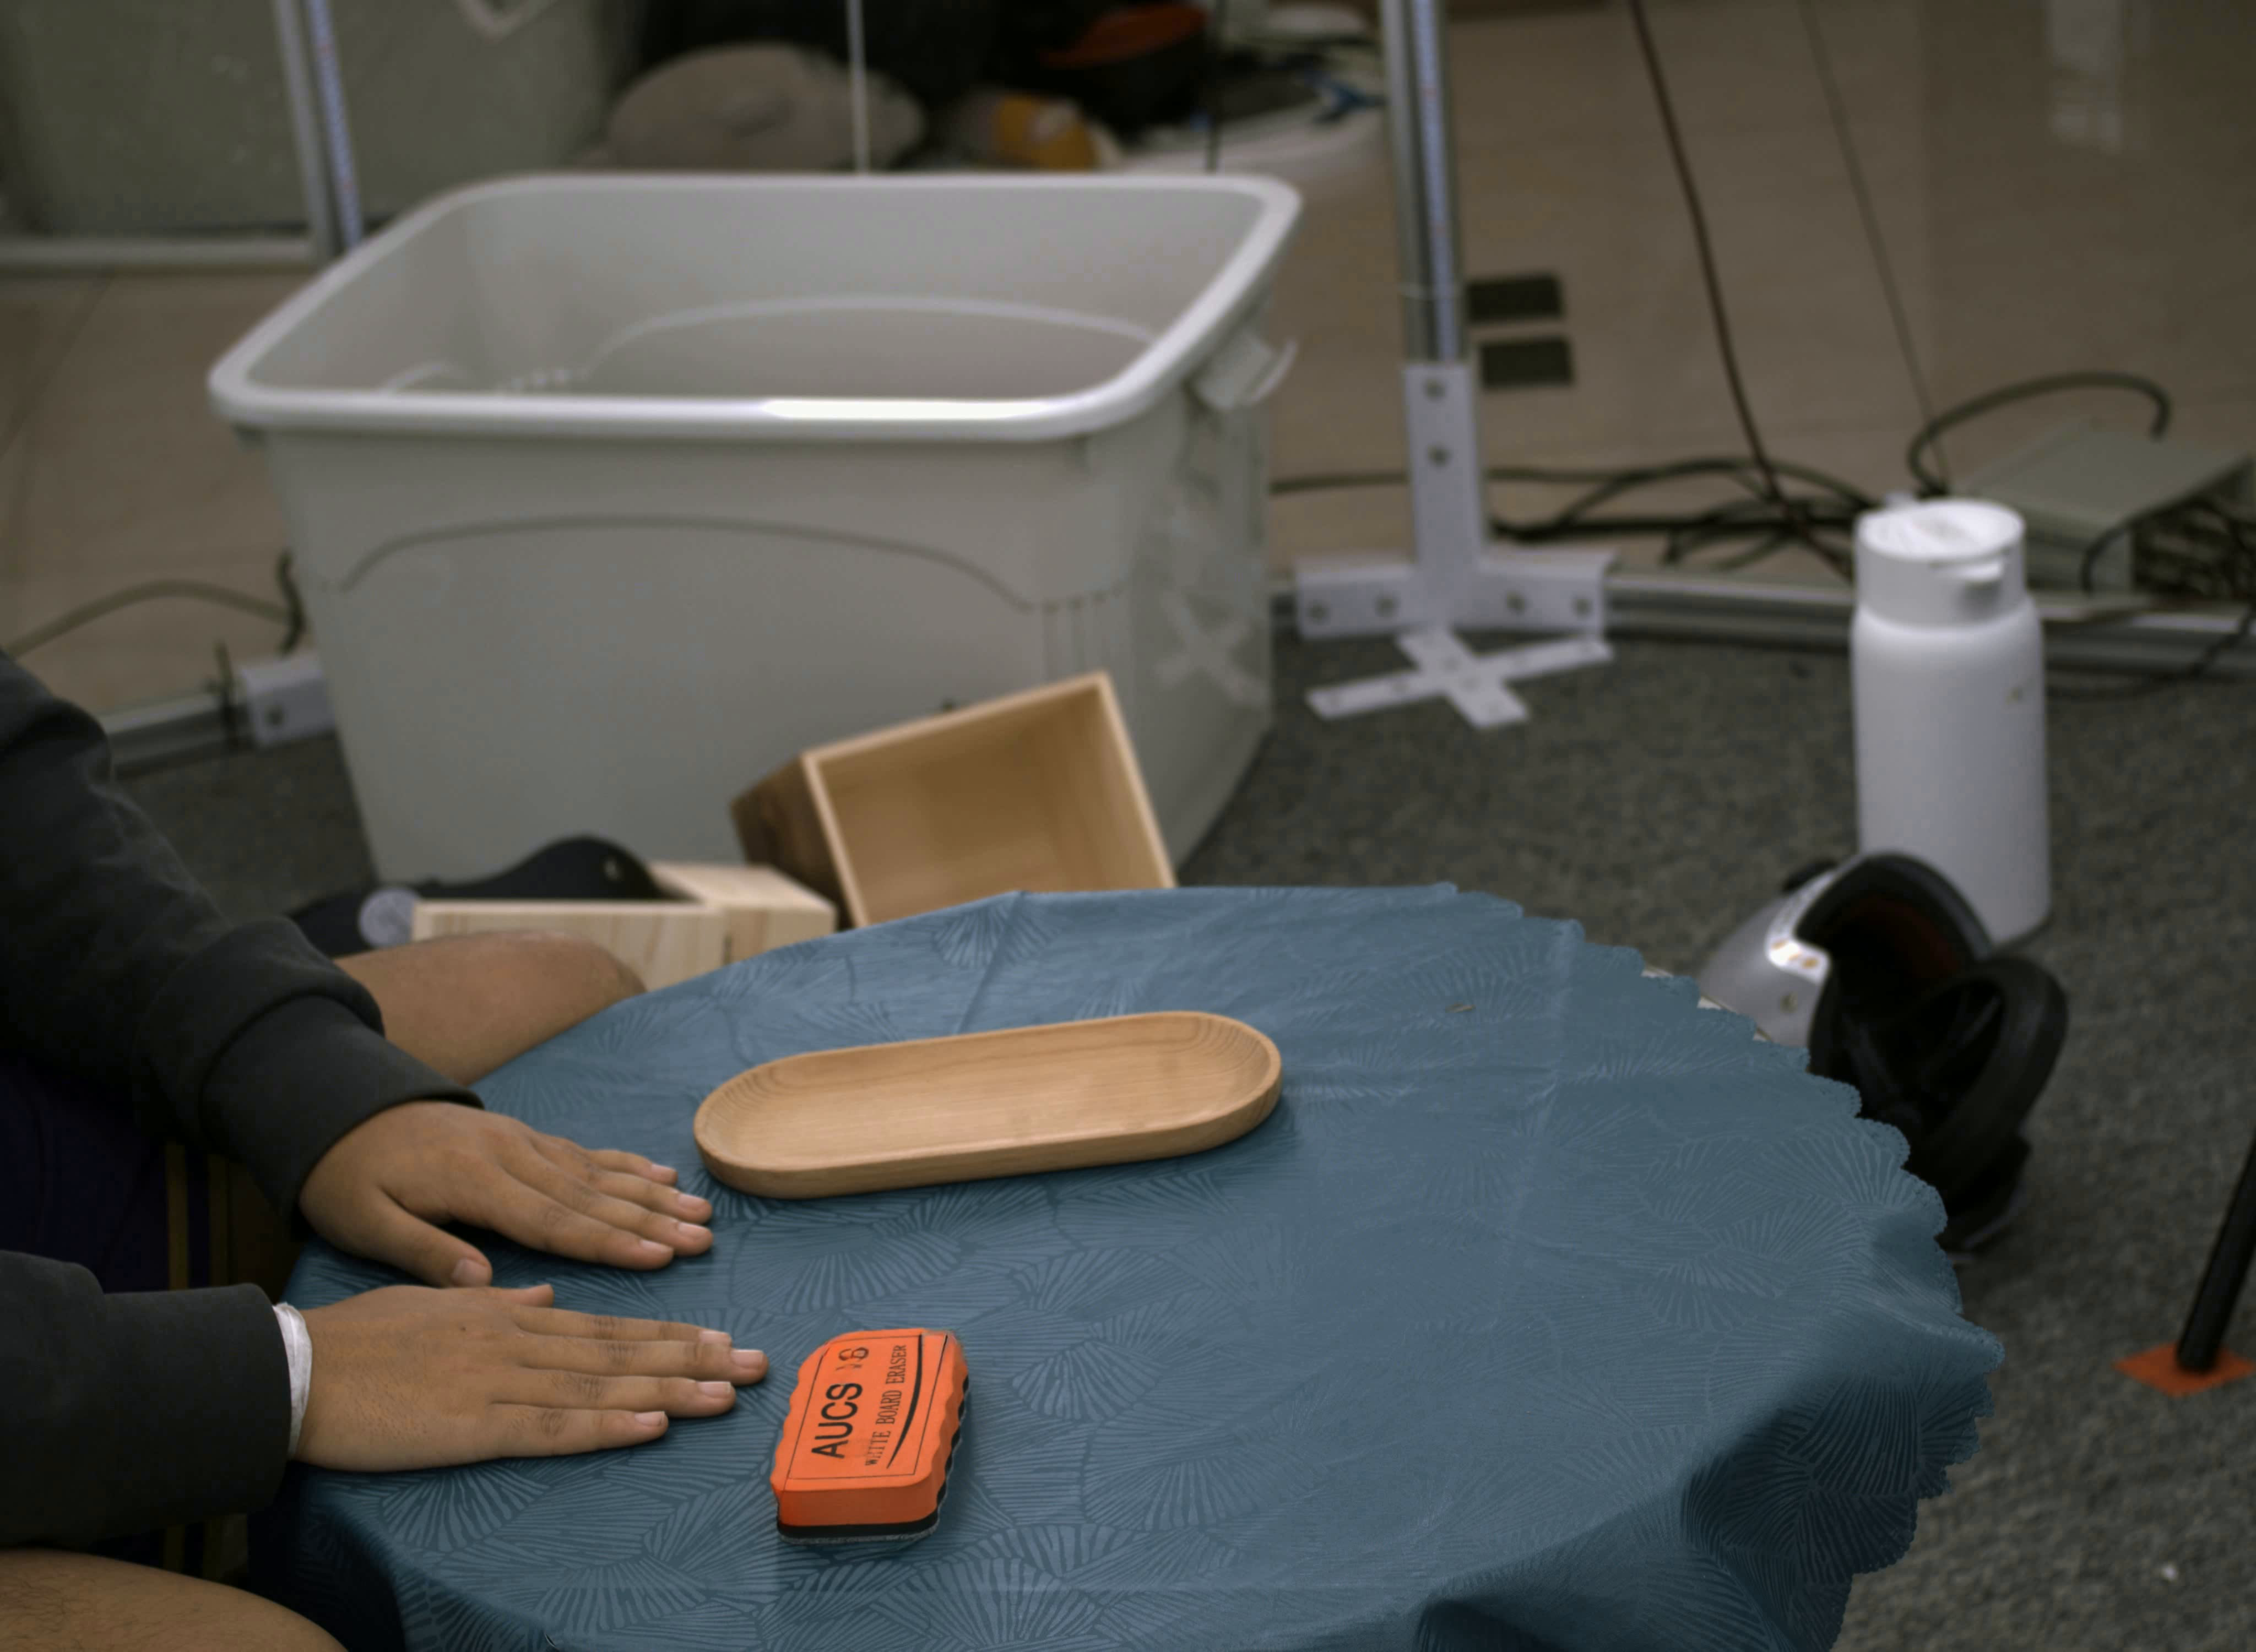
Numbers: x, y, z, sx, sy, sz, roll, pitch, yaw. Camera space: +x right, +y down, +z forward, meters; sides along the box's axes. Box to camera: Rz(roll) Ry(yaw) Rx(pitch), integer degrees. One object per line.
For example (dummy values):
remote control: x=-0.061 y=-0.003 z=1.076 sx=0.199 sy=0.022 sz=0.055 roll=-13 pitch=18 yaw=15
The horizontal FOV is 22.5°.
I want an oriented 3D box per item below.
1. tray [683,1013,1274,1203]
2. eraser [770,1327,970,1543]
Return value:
tray: x=-0.058 y=0.110 z=2.204 sx=0.231 sy=0.020 sz=0.100 roll=-8 pitch=24 yaw=0
eraser: x=-0.090 y=0.212 z=1.984 sx=0.059 sy=0.023 sz=0.106 roll=4 pitch=26 yaw=5
